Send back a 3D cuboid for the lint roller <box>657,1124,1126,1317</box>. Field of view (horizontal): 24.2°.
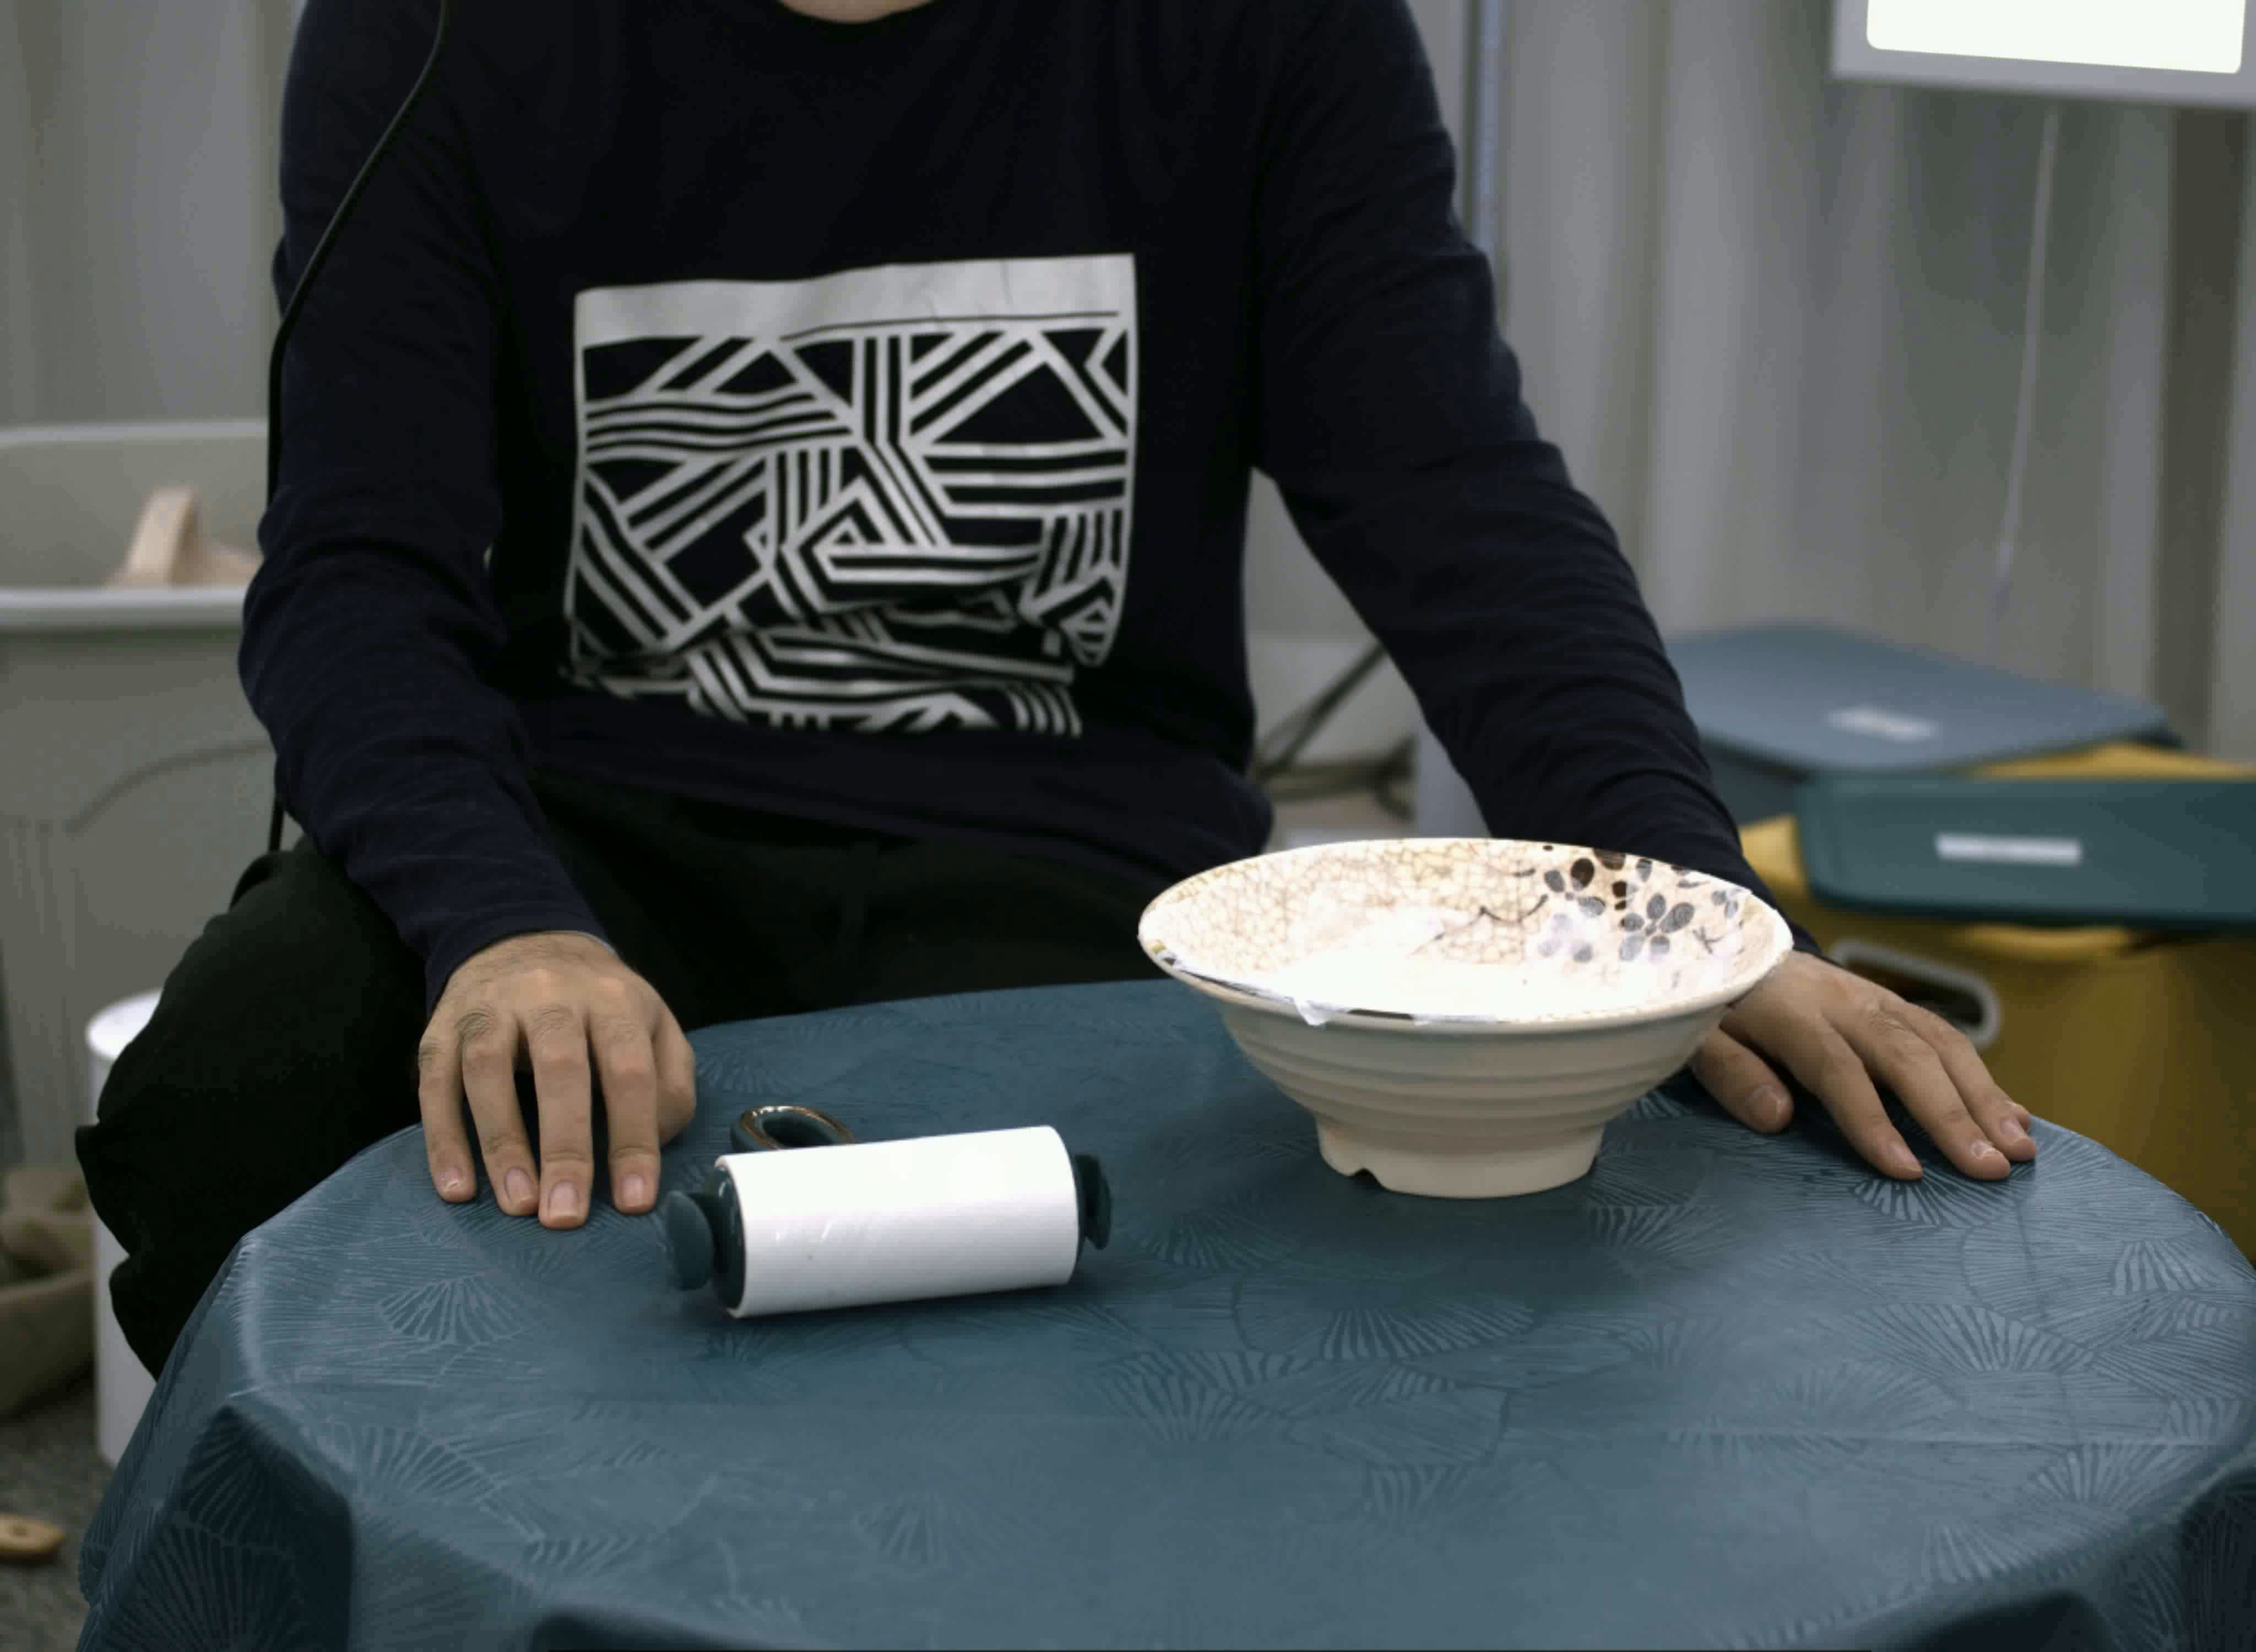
[{"bbox_3d":[-0.089,0.102,1.587,0.134,0.048,0.178,-4,13,-18],"label":"lint roller"}]

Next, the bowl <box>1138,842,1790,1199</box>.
[{"bbox_3d":[0.104,0.067,1.648,0.203,0.078,0.203,1,14,0],"label":"bowl"}]
